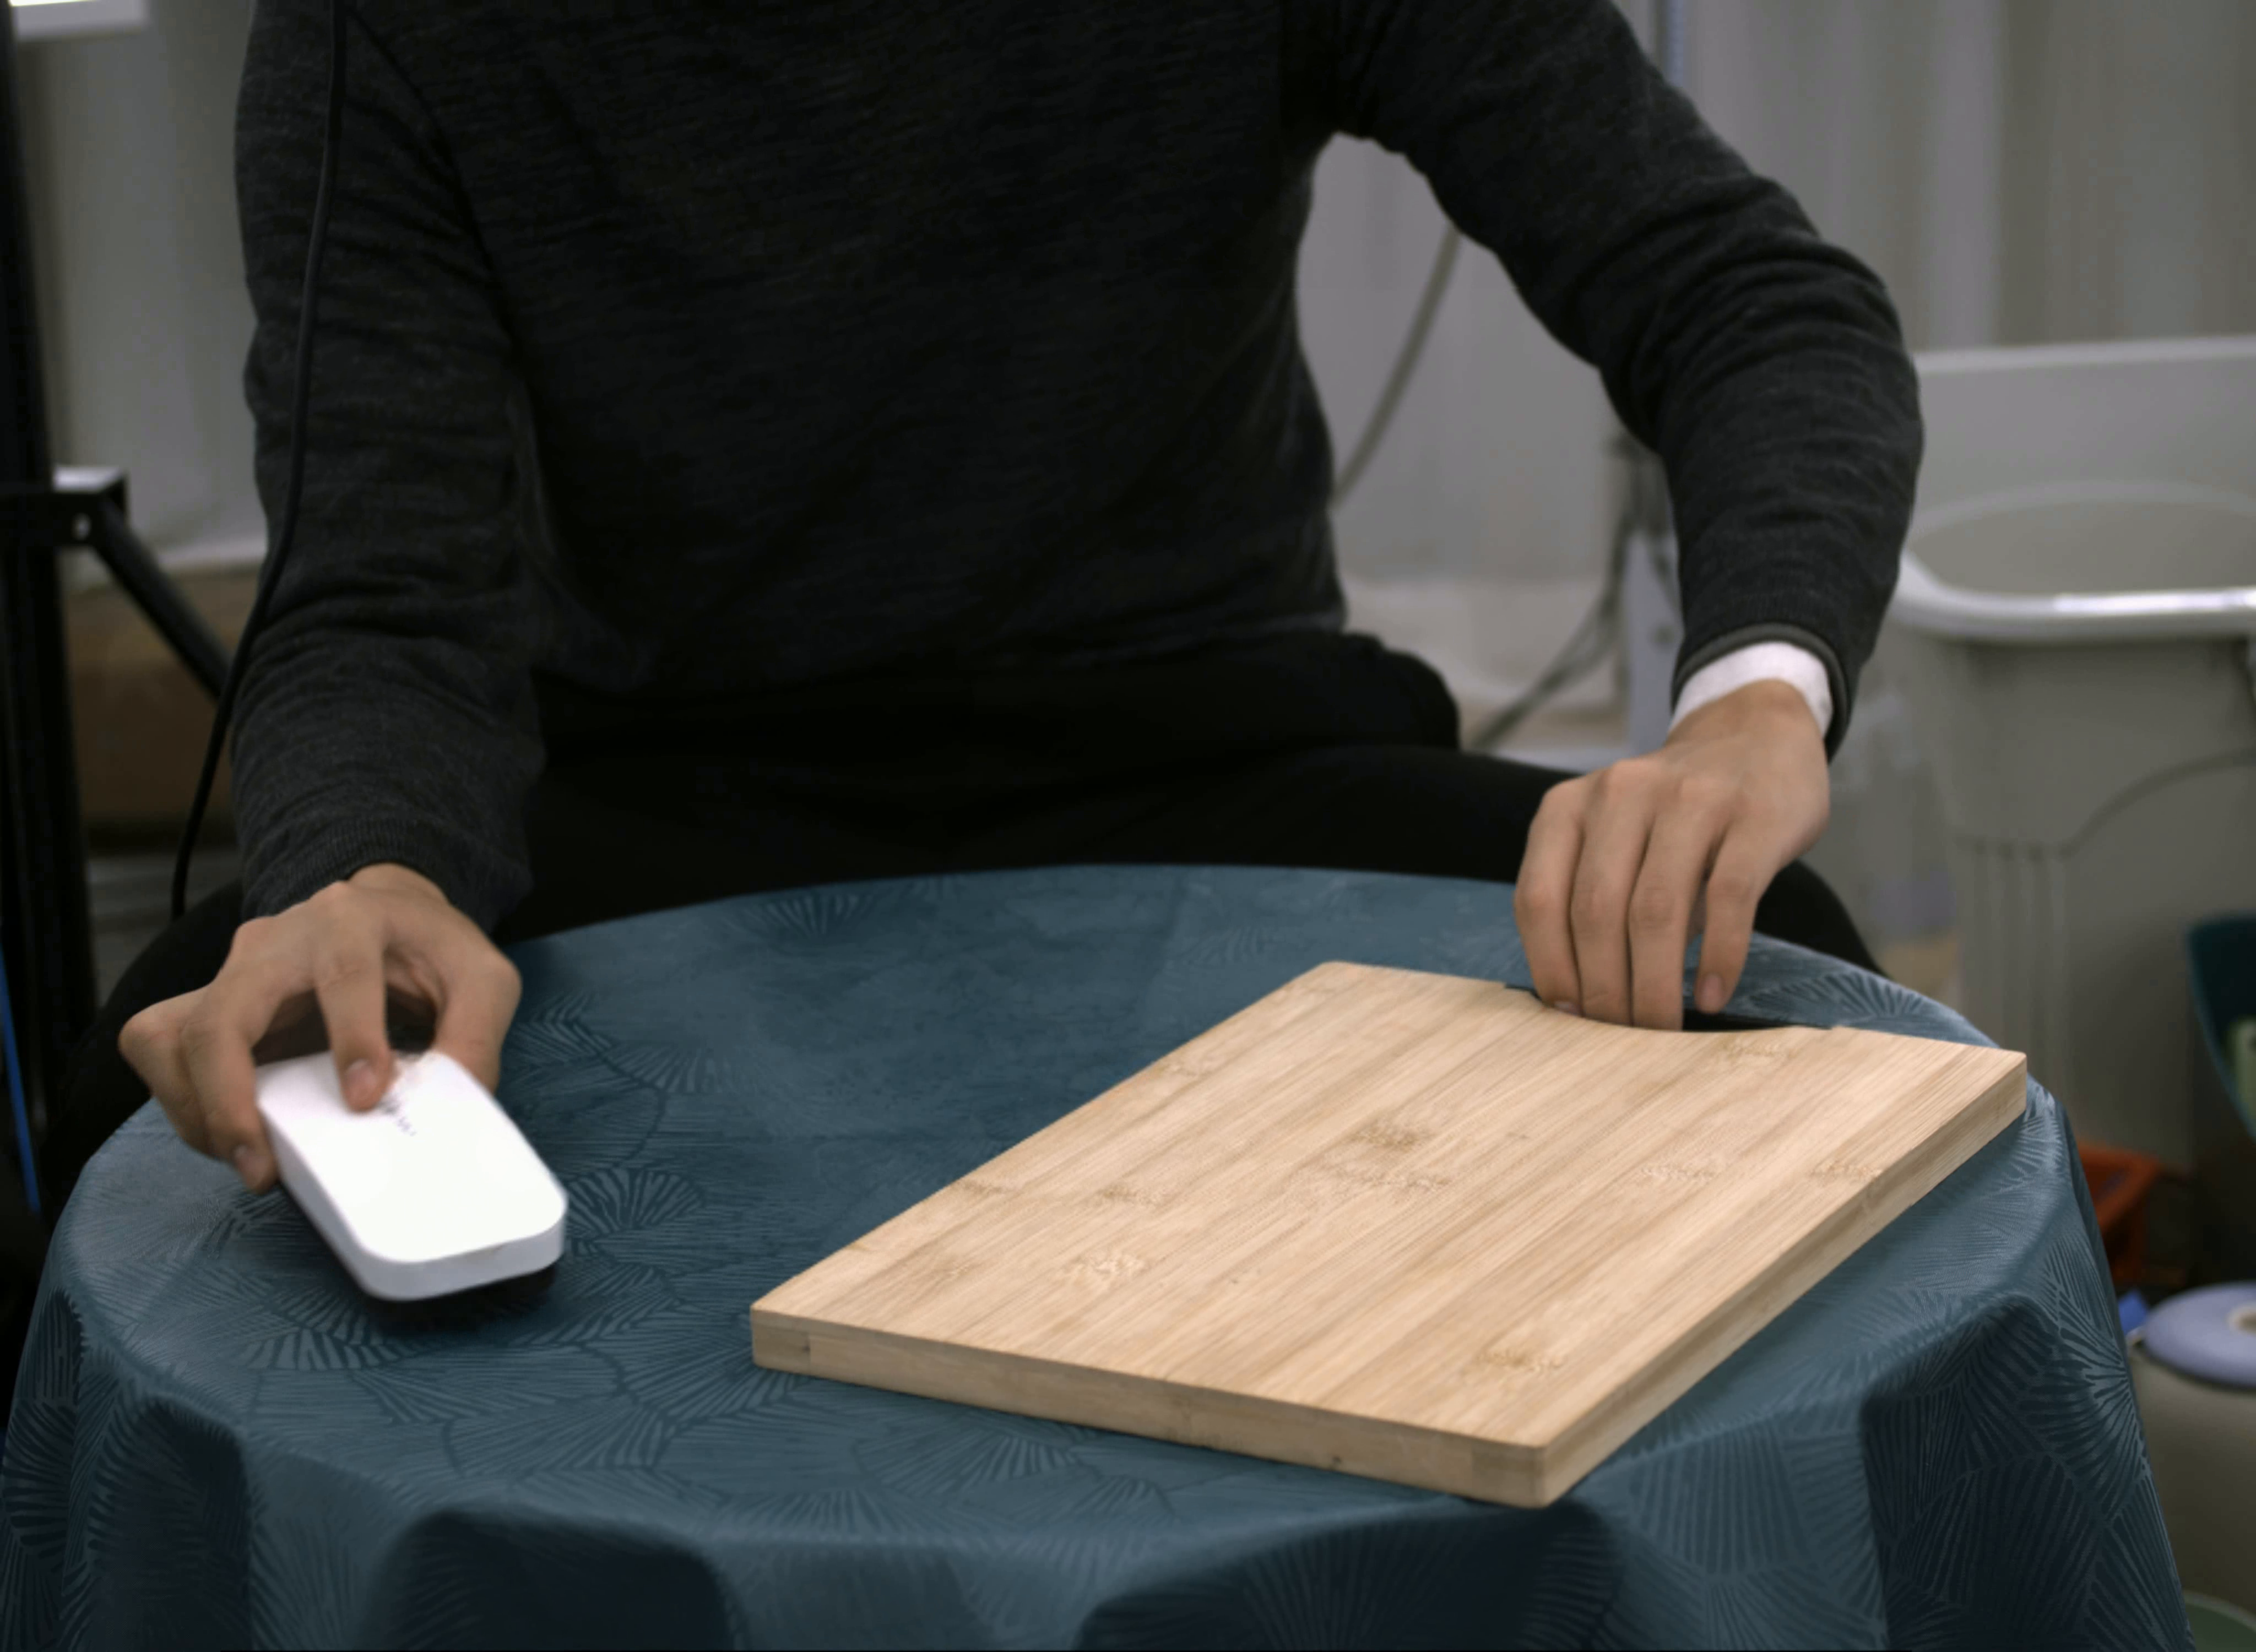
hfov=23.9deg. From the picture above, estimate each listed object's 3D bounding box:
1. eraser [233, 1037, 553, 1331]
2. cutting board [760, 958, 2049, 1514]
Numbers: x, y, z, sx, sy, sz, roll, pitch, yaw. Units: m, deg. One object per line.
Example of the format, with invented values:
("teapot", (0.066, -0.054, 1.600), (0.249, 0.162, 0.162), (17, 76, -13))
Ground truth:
("eraser", (-0.209, 0.098, 1.523), (0.062, 0.034, 0.134), (-11, 28, -22))
("cutting board", (0.088, 0.107, 1.515), (0.255, 0.023, 0.342), (7, 18, 29))
